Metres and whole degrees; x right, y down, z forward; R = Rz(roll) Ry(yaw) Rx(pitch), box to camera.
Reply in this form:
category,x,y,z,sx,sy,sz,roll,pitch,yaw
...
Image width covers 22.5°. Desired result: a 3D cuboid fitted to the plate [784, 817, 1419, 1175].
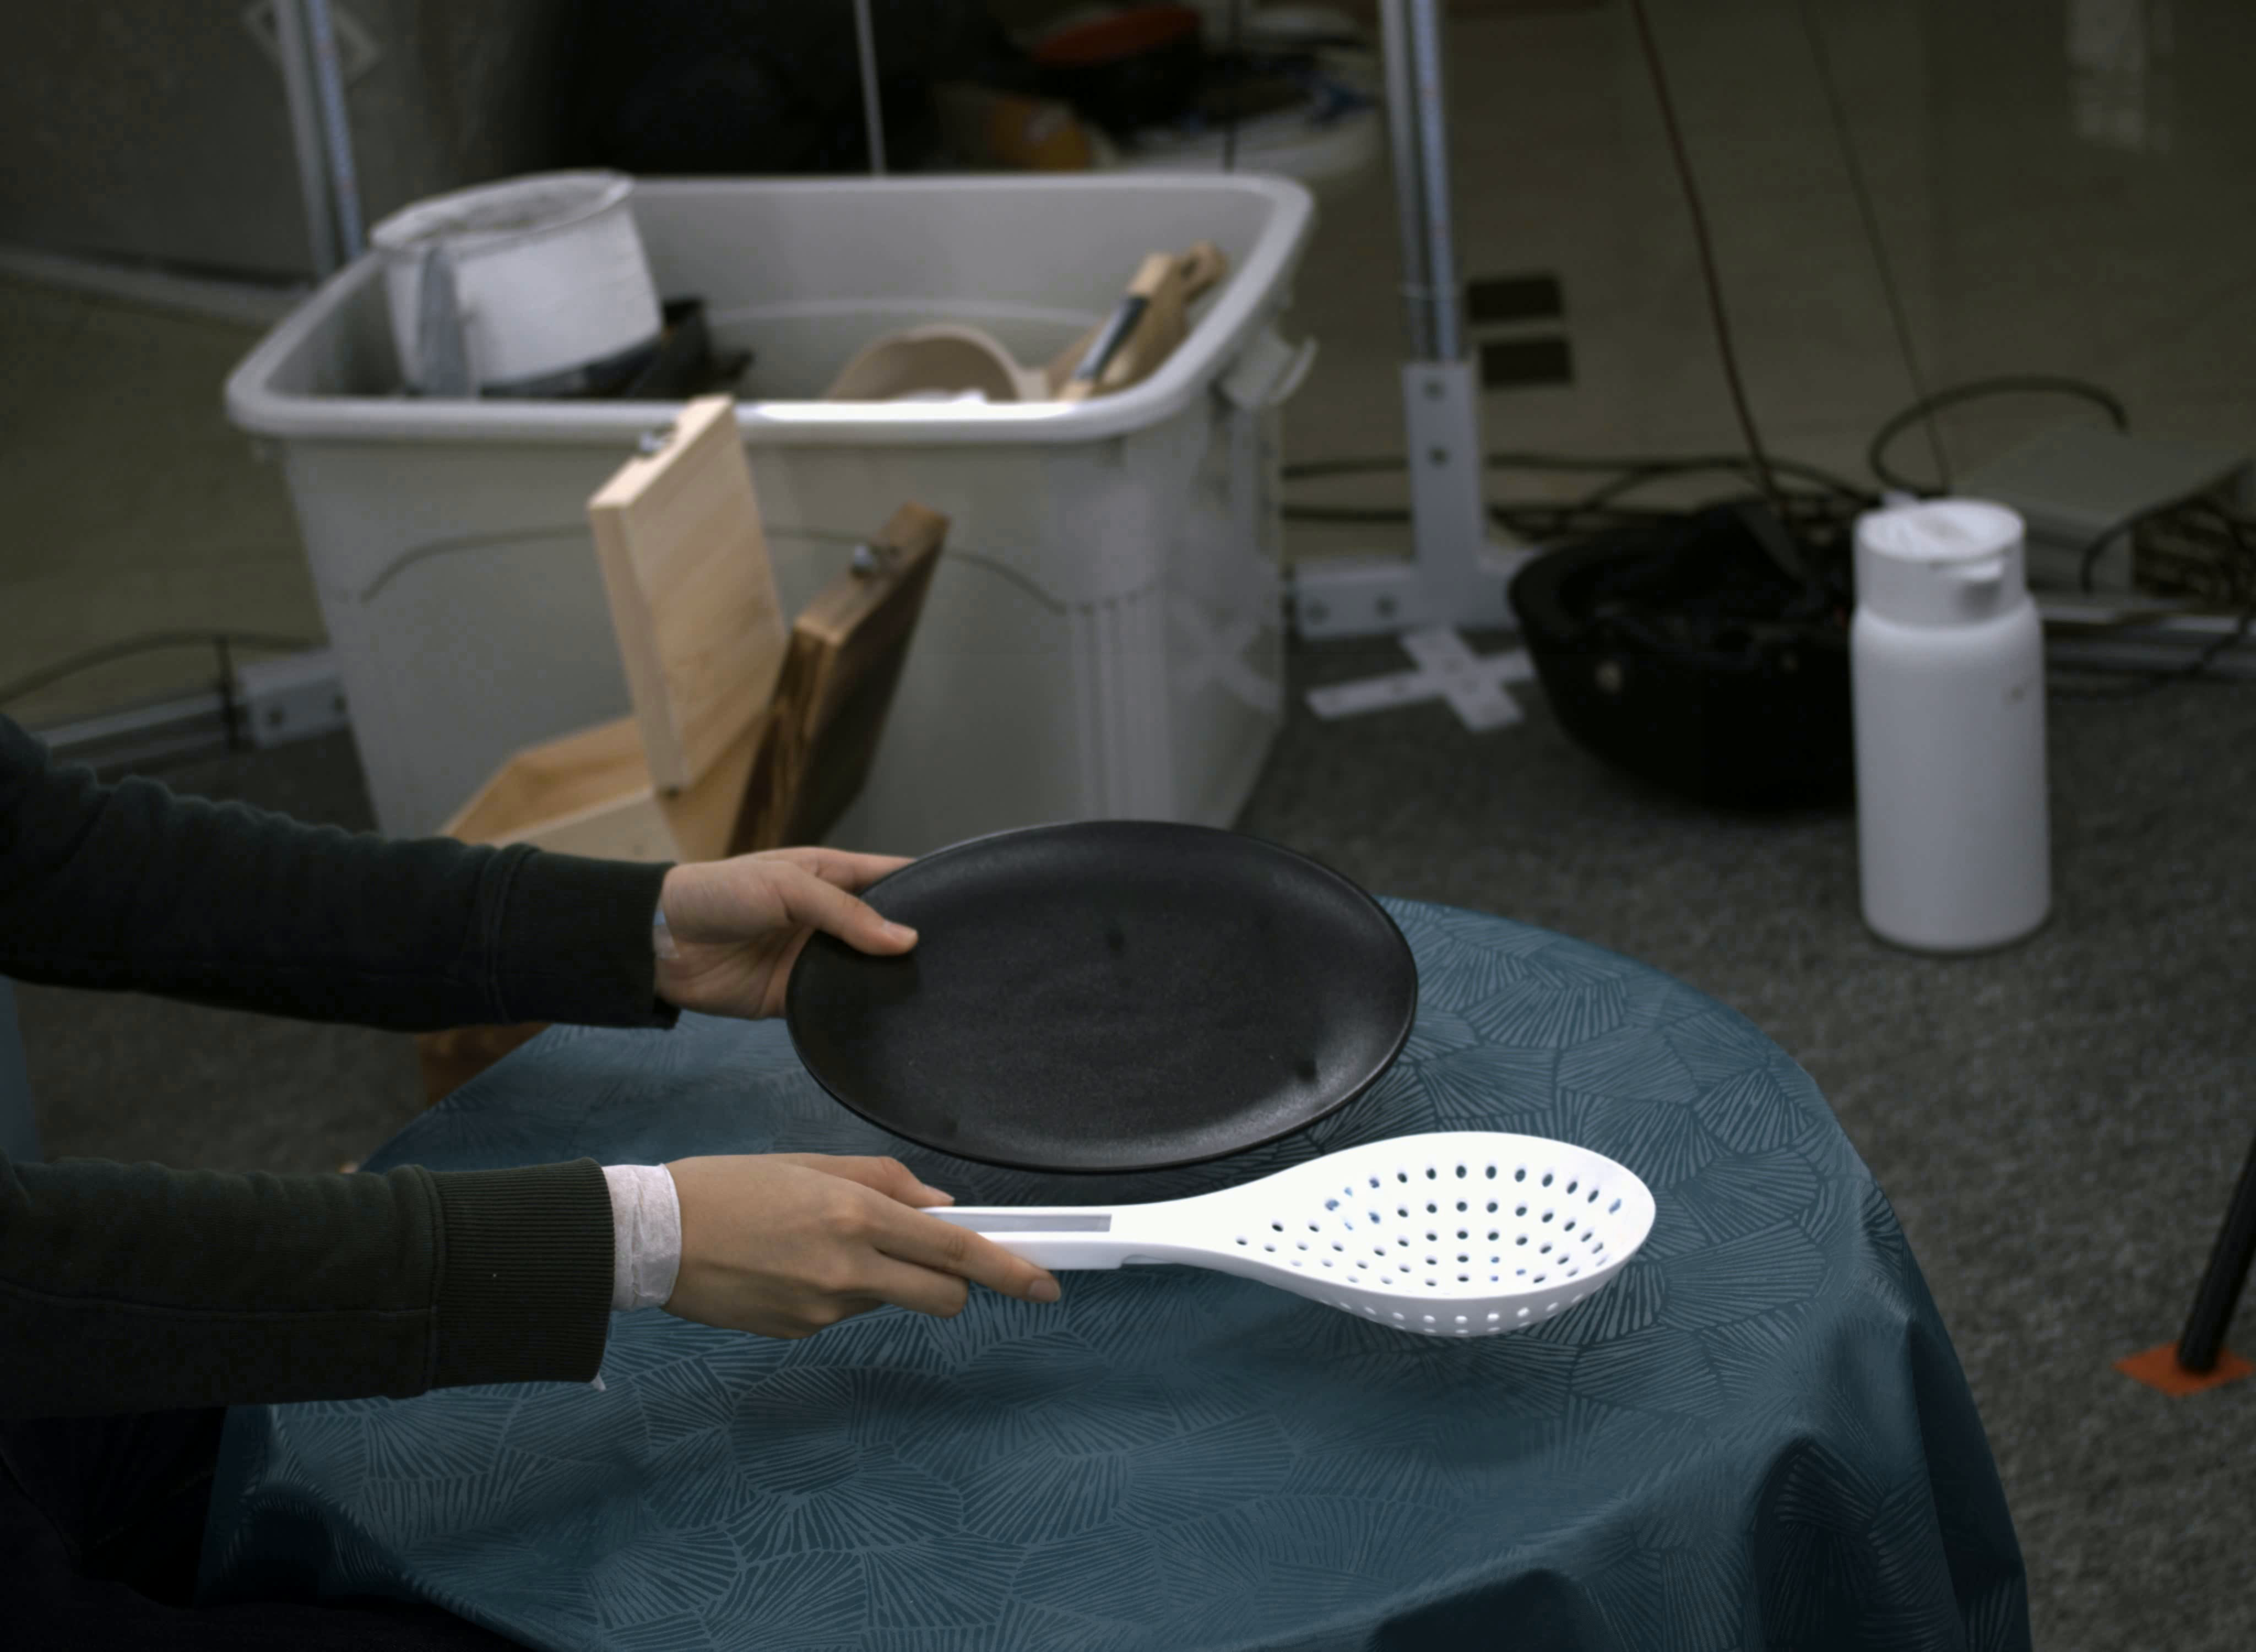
category,x,y,z,sx,sy,sz,roll,pitch,yaw
plate,-0.010,0.070,2.178,0.244,0.024,0.240,-1,33,1

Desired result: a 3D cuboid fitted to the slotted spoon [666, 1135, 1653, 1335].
category,x,y,z,sx,sy,sz,roll,pitch,yaw
slotted spoon,0.010,0.145,2.014,0.349,0.046,0.134,3,21,2
